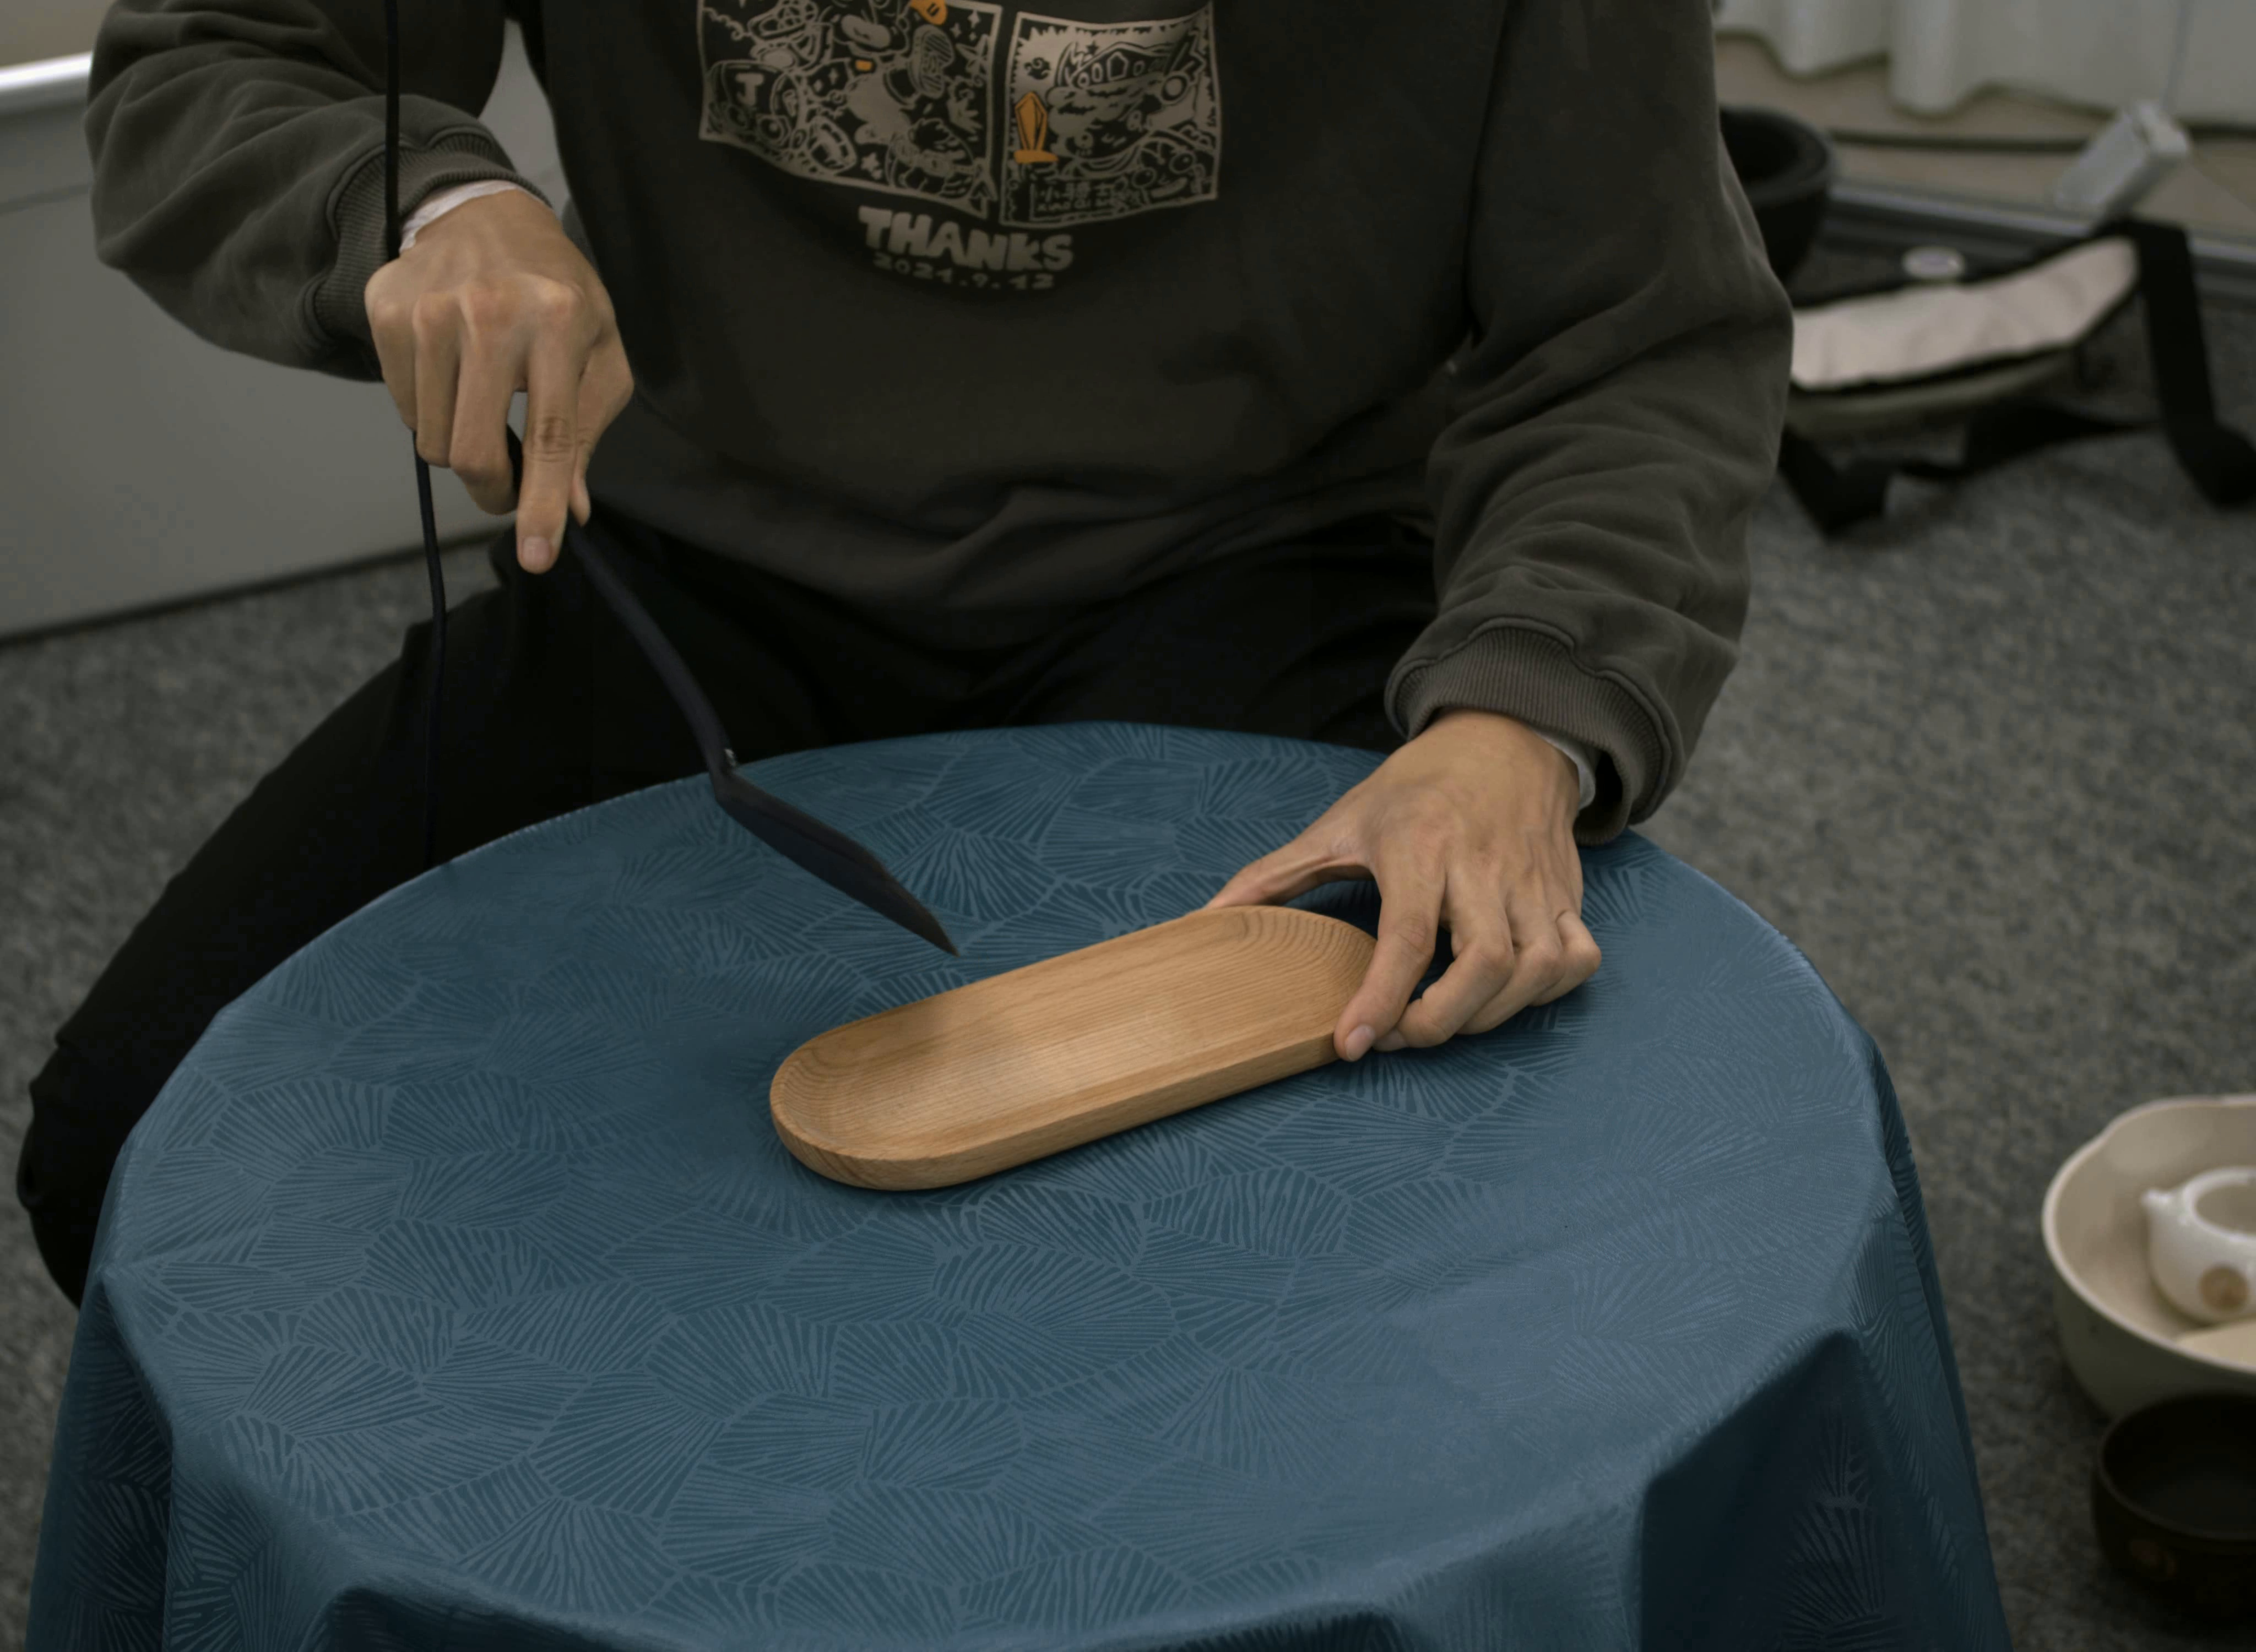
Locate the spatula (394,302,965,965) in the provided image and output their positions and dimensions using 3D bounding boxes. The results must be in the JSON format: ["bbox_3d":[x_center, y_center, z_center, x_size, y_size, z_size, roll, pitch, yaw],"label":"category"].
[{"bbox_3d":[-0.164,-0.074,1.963,0.040,0.099,0.329,-35,65,-1],"label":"spatula"}]

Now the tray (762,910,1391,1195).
[{"bbox_3d":[-0.016,0.077,1.929,0.232,0.020,0.102,-18,30,-24],"label":"tray"}]
